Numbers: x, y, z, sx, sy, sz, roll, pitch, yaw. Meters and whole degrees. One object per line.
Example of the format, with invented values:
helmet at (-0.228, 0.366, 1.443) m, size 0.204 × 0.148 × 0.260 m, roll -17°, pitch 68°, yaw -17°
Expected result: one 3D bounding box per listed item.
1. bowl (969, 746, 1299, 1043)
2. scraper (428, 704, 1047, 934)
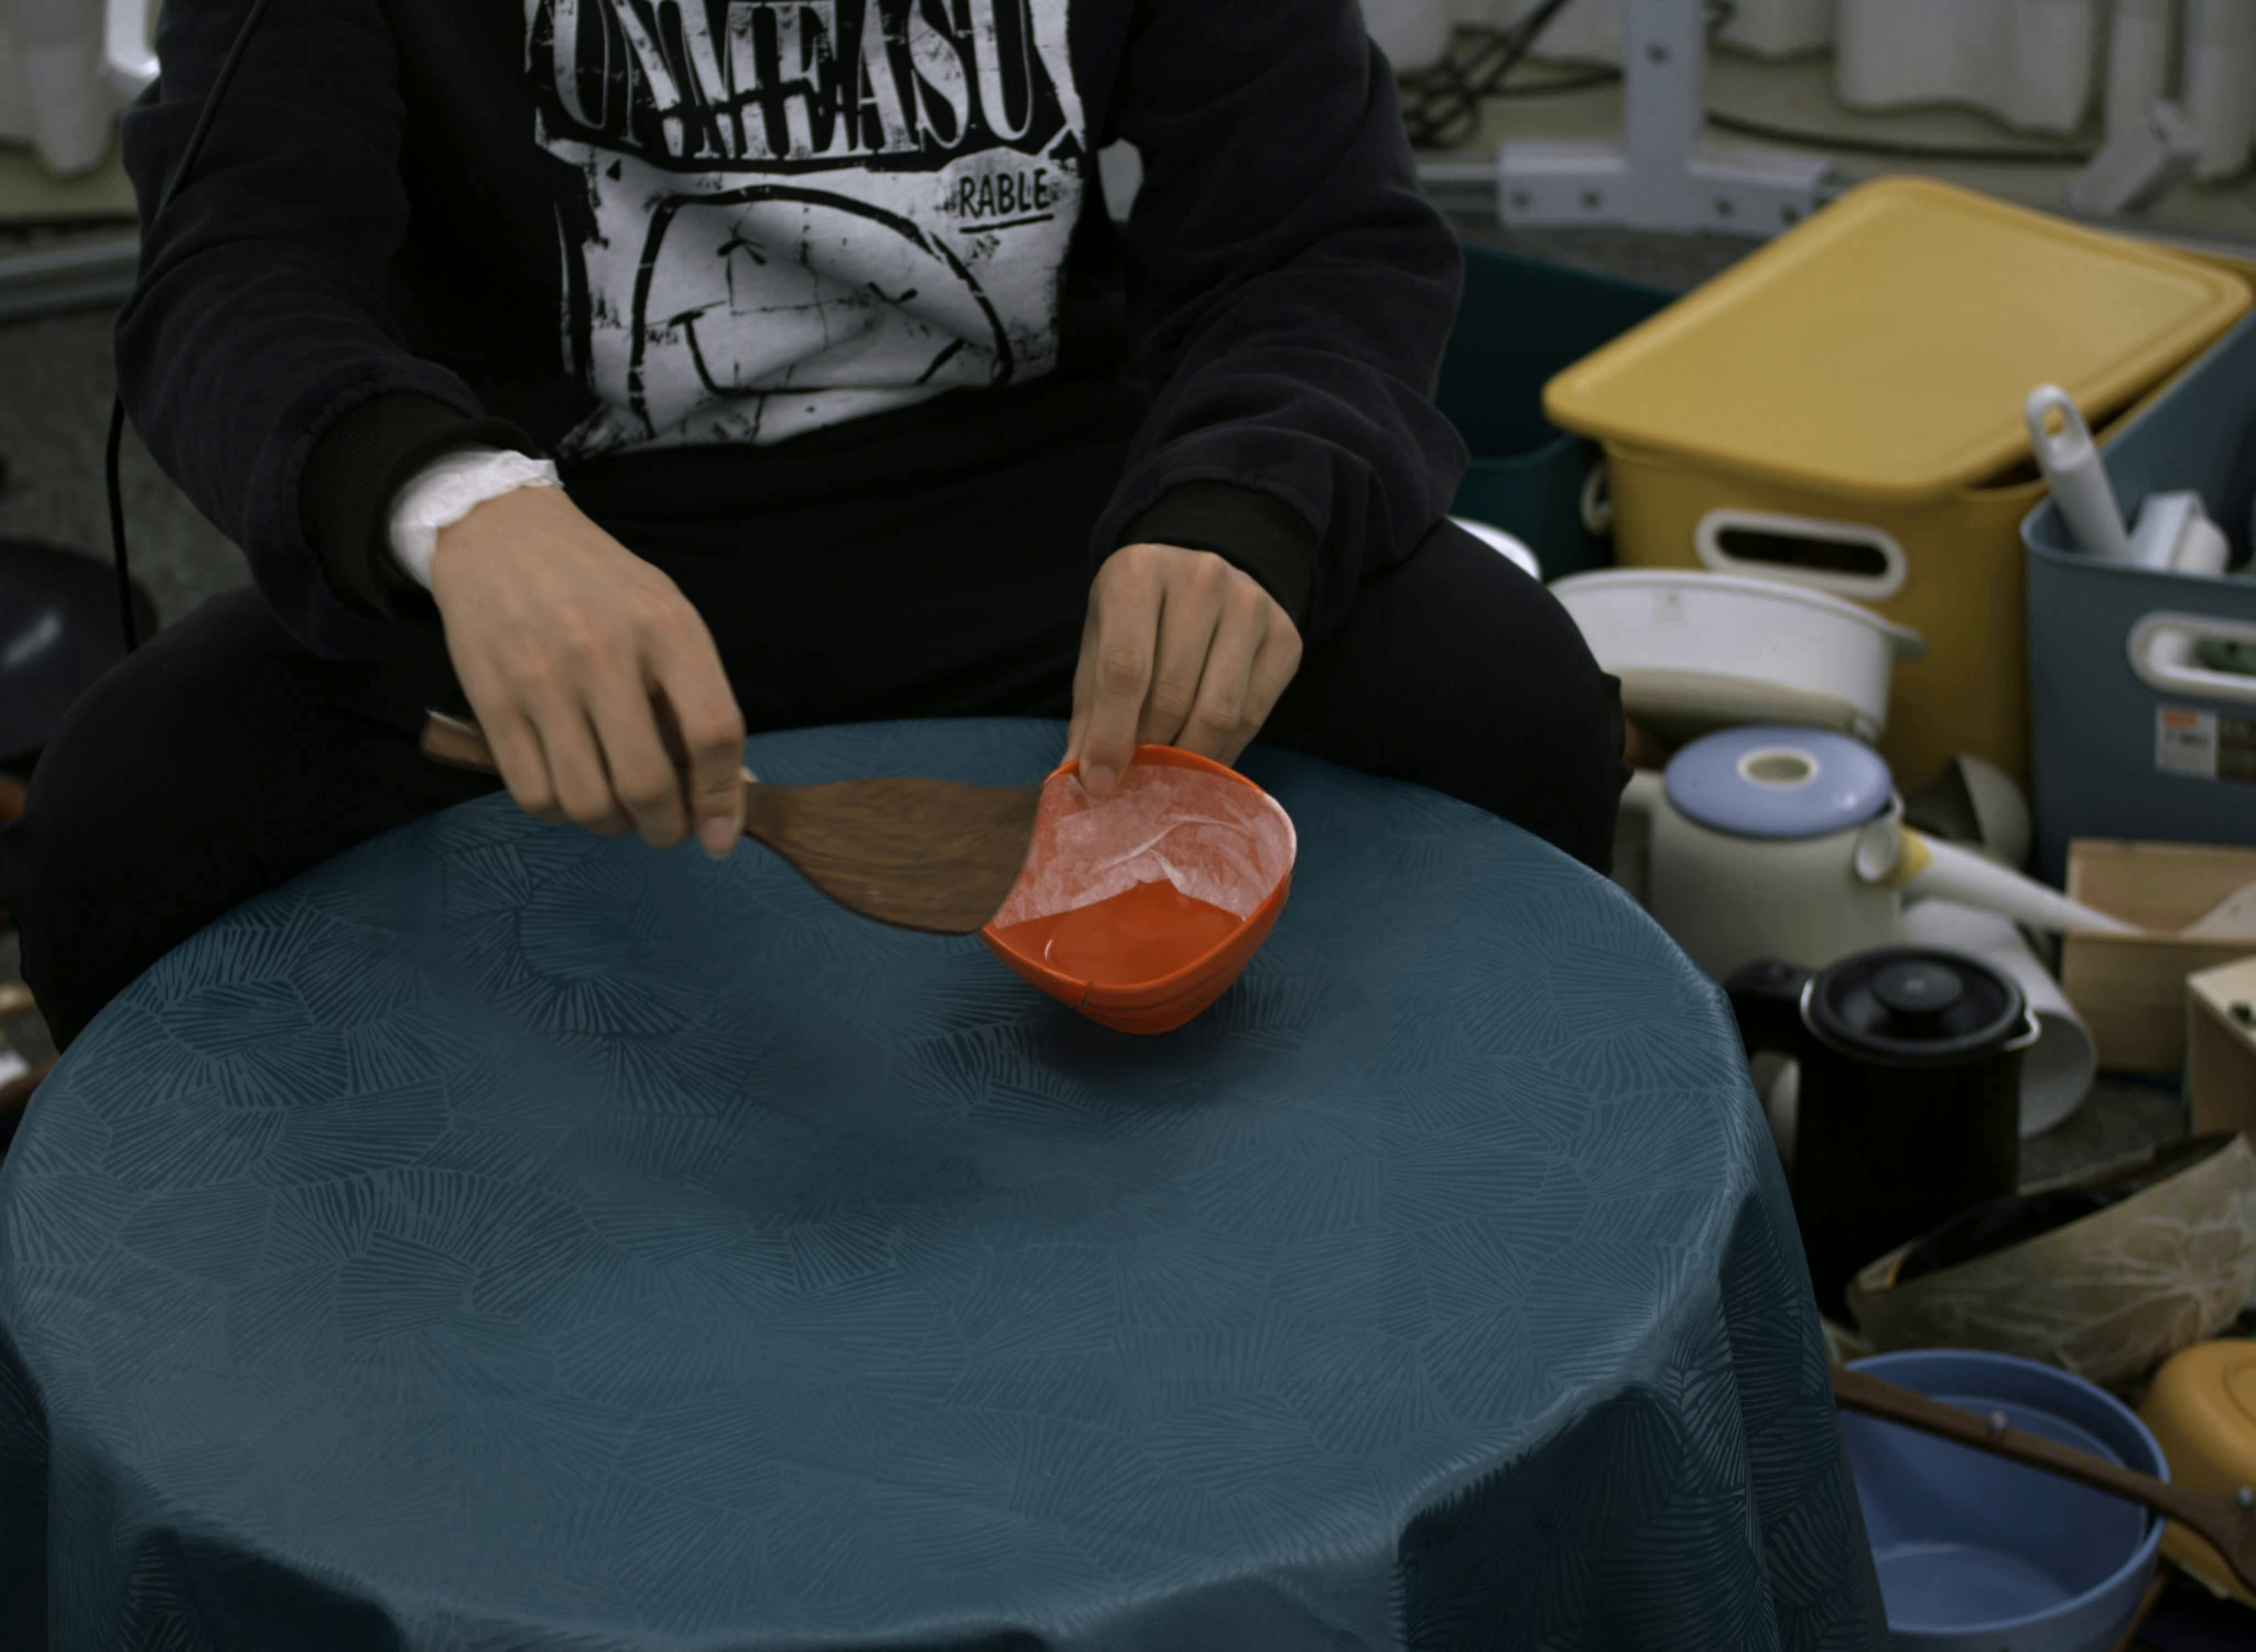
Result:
bowl at (0.005, 0.031, 1.963) m, size 0.118 × 0.050 × 0.121 m, roll -7°, pitch 45°, yaw 7°
scraper at (-0.133, -0.009, 1.880) m, size 0.210 × 0.010 × 0.077 m, roll 13°, pitch 43°, yaw 9°
